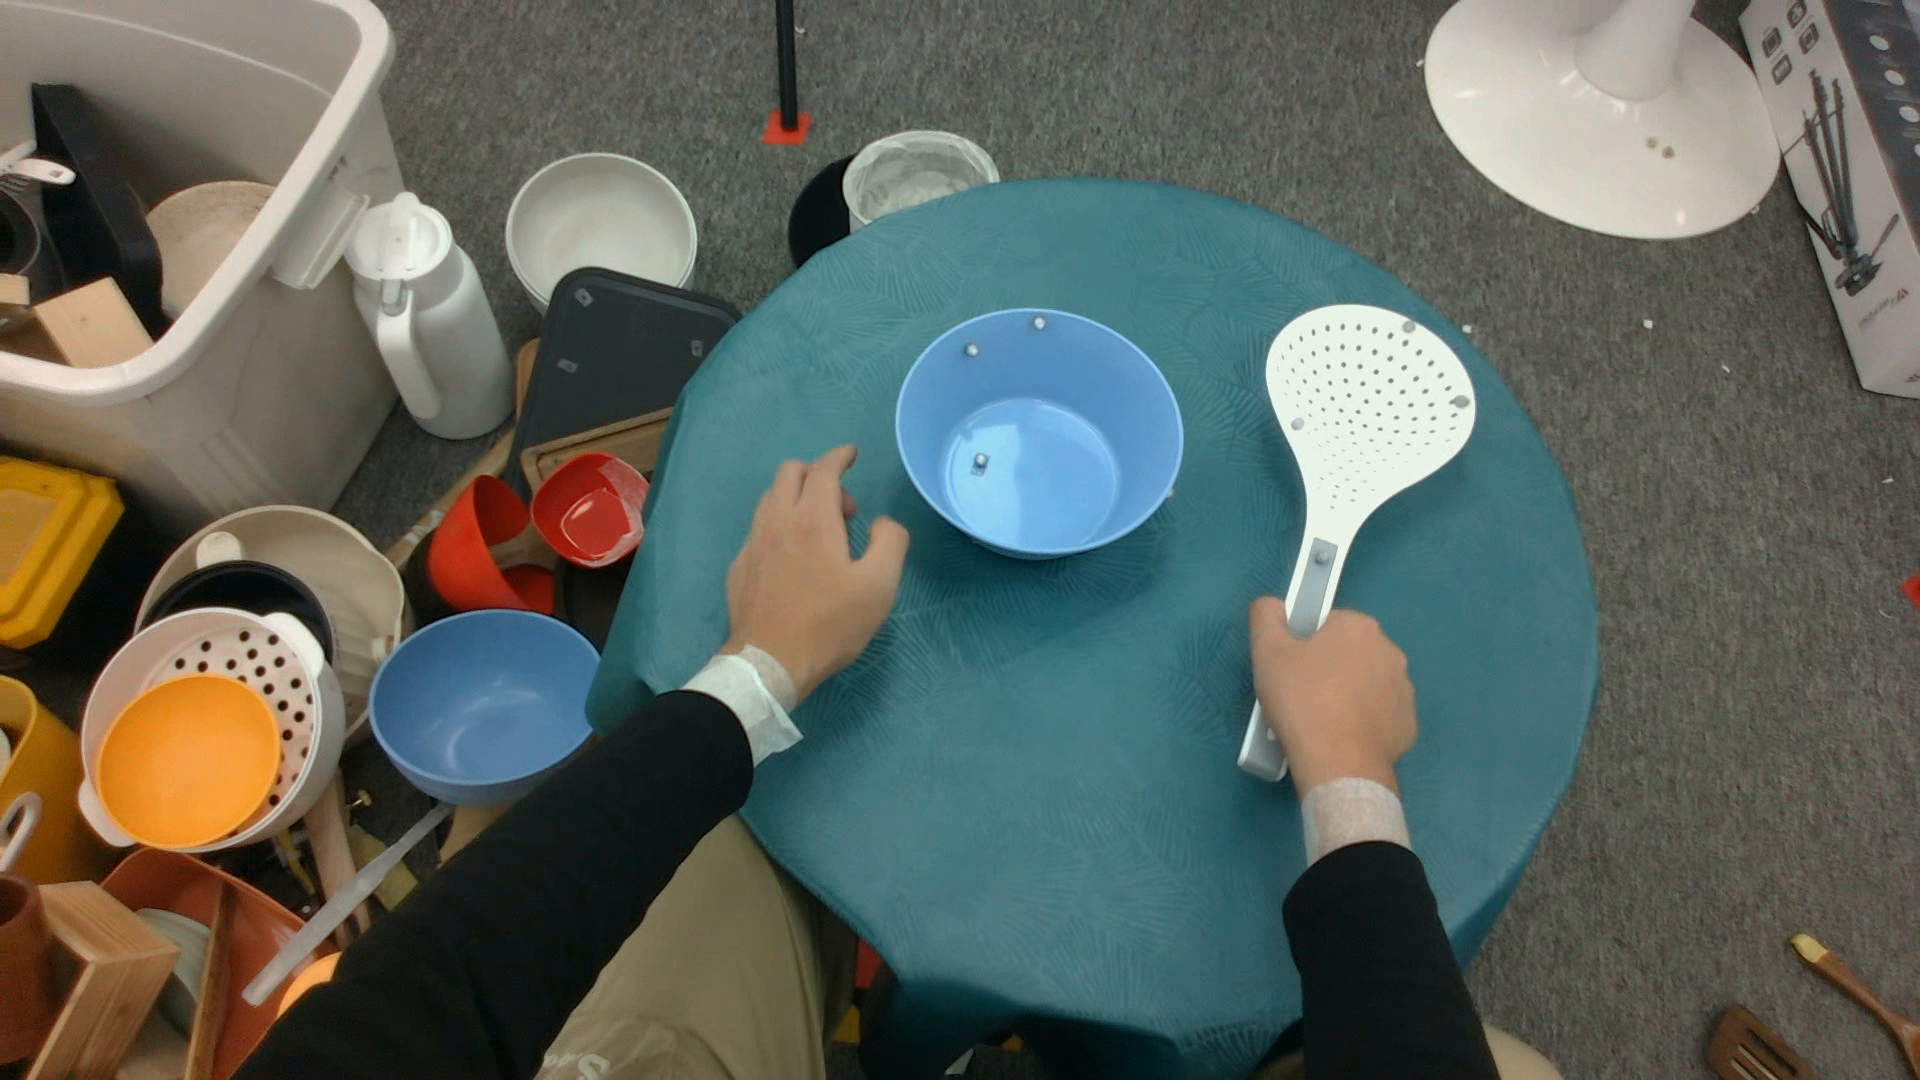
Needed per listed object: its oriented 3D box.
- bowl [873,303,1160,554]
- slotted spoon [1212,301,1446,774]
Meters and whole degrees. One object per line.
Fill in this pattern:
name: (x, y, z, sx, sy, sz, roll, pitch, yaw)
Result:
bowl: (0.032, -0.058, 0.860, 0.176, 0.070, 0.177, 2, 62, -4)
slotted spoon: (0.214, -0.012, 0.853, 0.136, 0.045, 0.351, 22, 56, 3)
